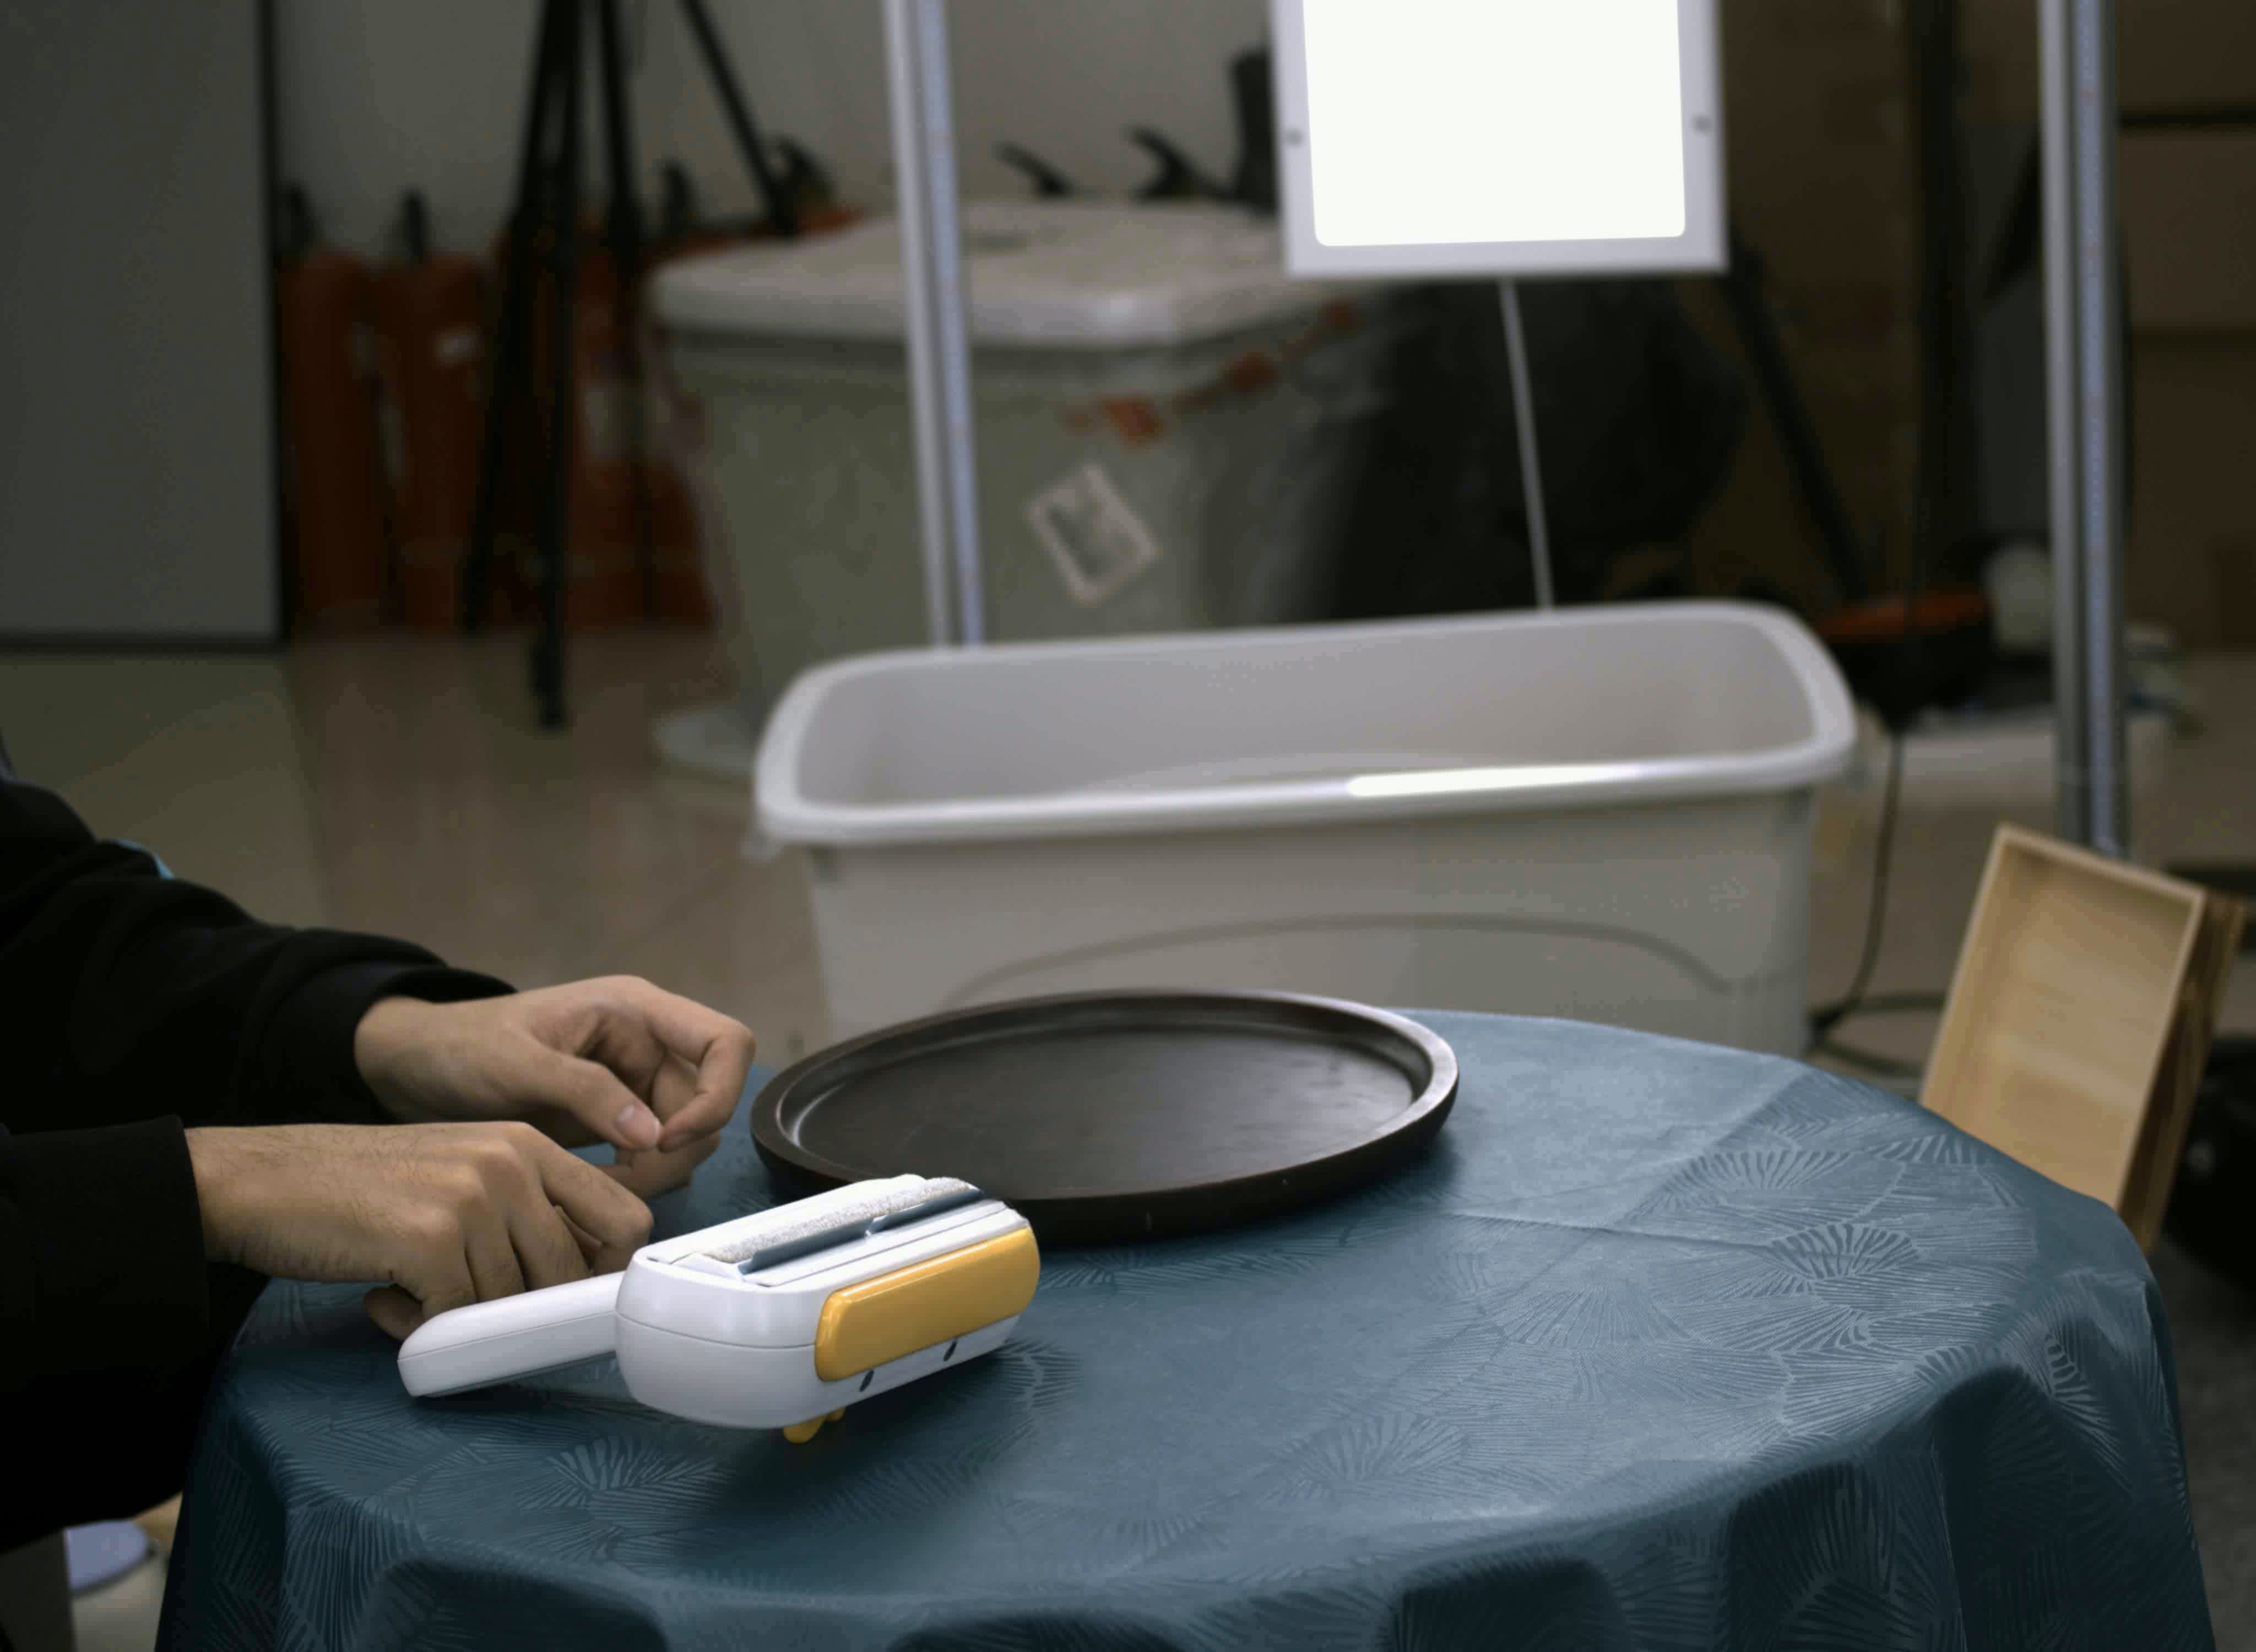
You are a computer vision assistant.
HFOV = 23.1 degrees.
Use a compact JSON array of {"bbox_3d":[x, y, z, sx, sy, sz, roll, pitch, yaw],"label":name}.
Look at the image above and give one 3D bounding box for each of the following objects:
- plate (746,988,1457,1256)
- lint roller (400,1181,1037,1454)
[{"bbox_3d":[-0.008,0.103,1.948,0.254,0.029,0.254,-6,14,0],"label":"plate"},{"bbox_3d":[-0.144,0.151,1.708,0.196,0.074,0.188,1,10,30],"label":"lint roller"}]
